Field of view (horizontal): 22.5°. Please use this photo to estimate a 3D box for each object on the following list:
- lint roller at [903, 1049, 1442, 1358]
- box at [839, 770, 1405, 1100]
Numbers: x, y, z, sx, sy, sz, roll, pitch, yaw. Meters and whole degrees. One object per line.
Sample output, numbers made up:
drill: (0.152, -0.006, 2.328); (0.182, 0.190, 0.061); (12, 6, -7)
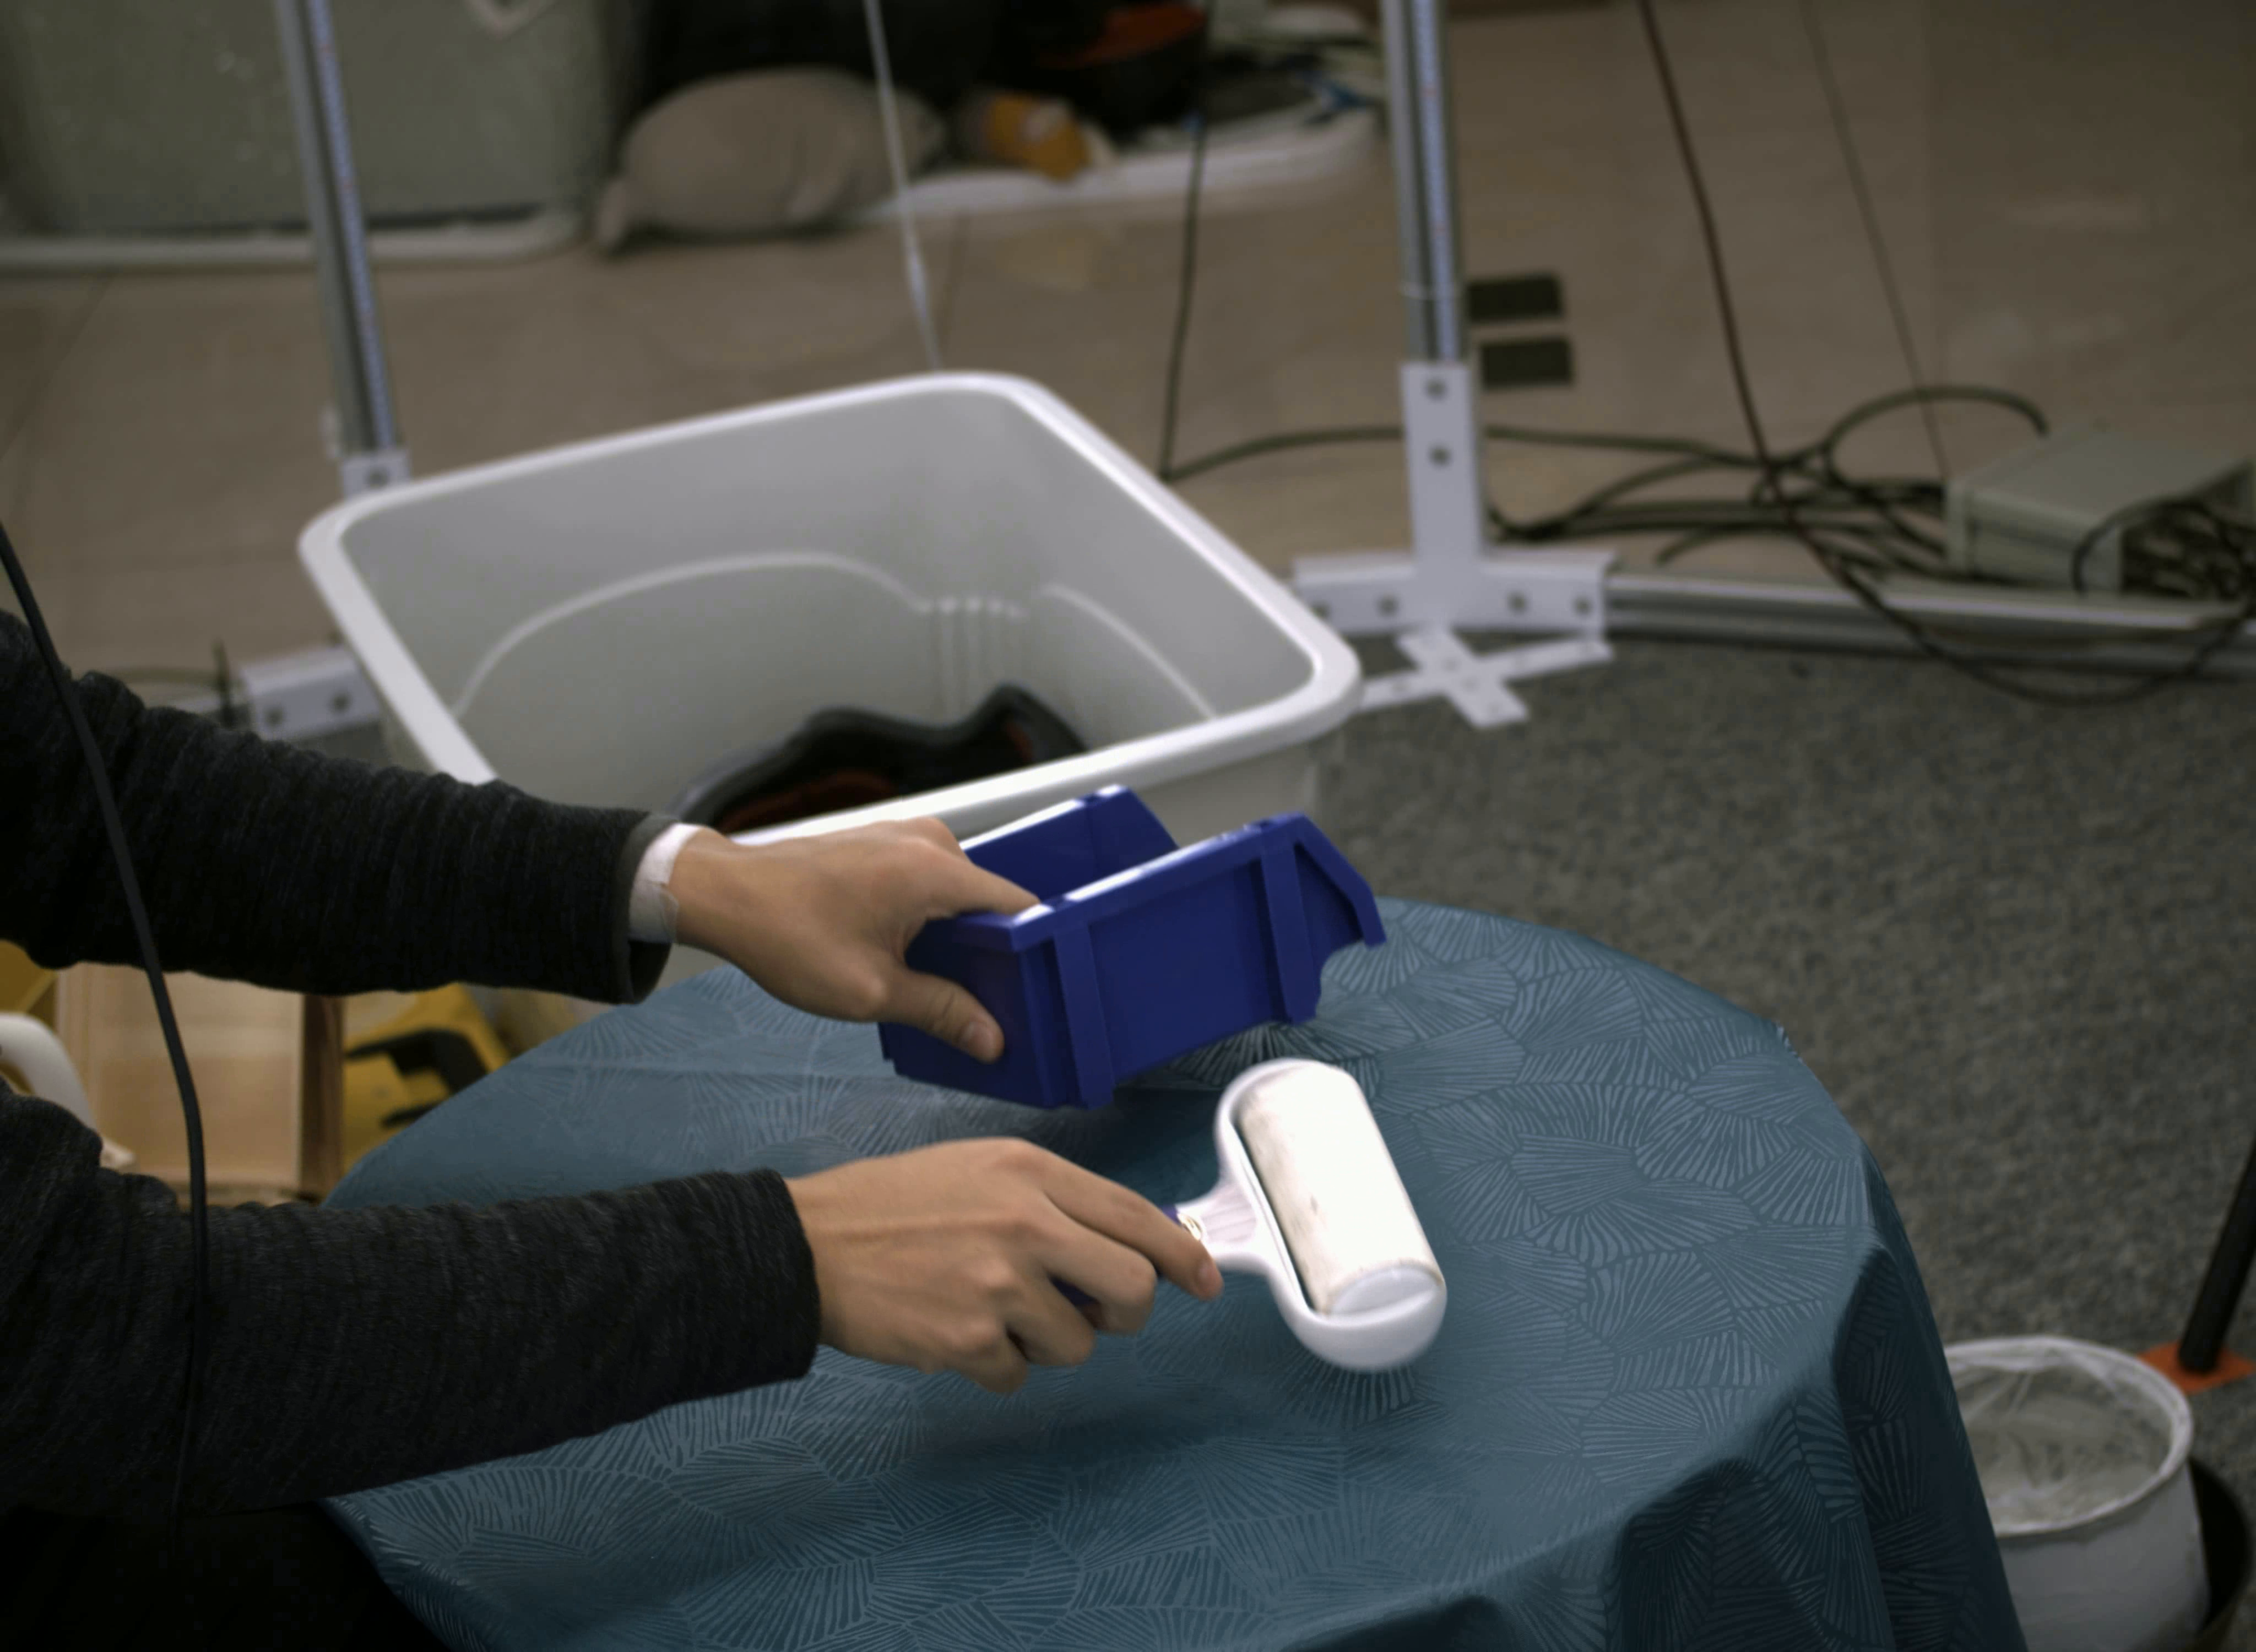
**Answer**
lint roller: (0.010, 0.137, 1.982); (0.180, 0.051, 0.130); (-4, 43, -17)
box: (-0.002, 0.038, 2.204); (0.178, 0.083, 0.124); (-23, 19, -33)
